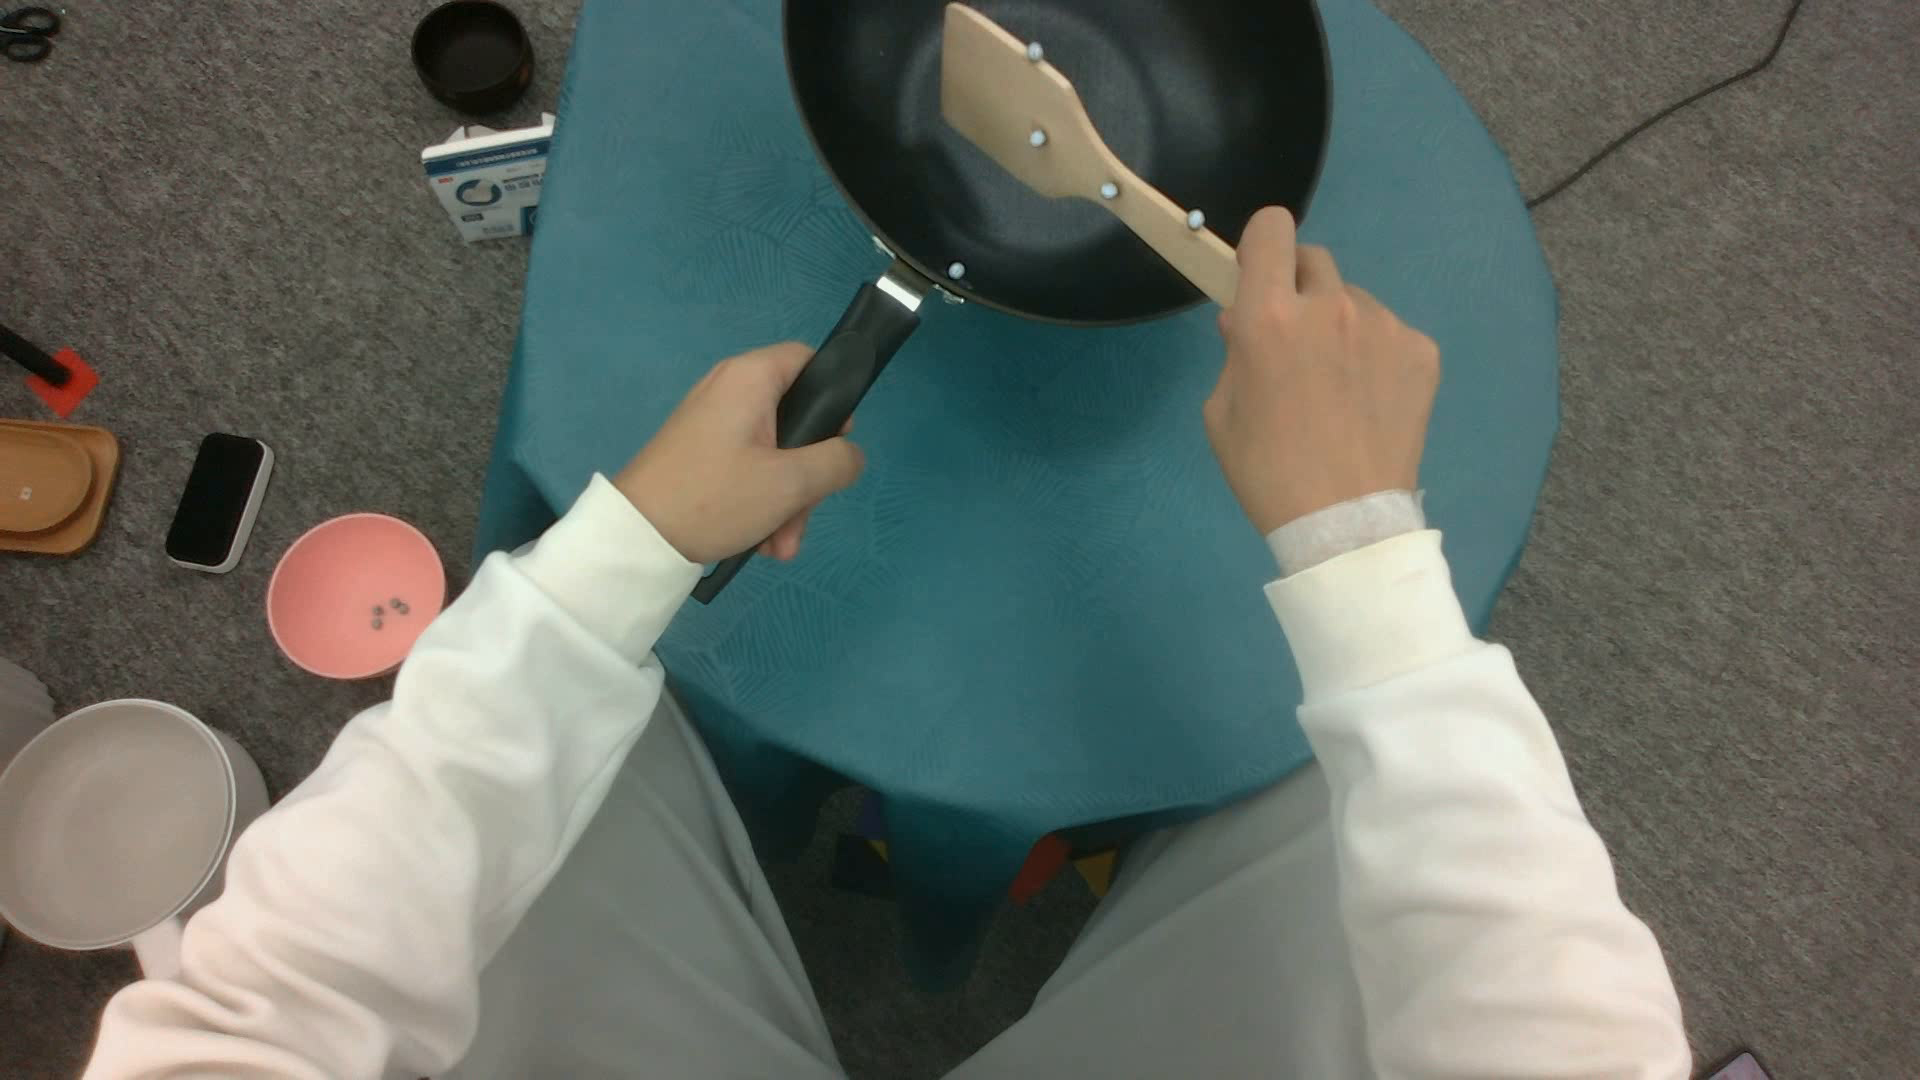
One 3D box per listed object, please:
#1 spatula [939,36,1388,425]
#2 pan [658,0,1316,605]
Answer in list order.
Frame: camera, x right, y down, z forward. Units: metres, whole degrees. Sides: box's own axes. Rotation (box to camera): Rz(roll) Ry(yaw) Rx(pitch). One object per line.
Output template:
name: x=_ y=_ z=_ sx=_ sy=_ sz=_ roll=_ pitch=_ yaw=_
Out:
spatula: x=0.088 y=-0.148 z=0.659 sx=0.011 sy=0.072 sz=0.293 roll=-34 pitch=62 yaw=-25
pan: x=-0.006 y=-0.156 z=0.709 sx=0.288 sy=0.086 sz=0.464 roll=33 pitch=76 yaw=-4
